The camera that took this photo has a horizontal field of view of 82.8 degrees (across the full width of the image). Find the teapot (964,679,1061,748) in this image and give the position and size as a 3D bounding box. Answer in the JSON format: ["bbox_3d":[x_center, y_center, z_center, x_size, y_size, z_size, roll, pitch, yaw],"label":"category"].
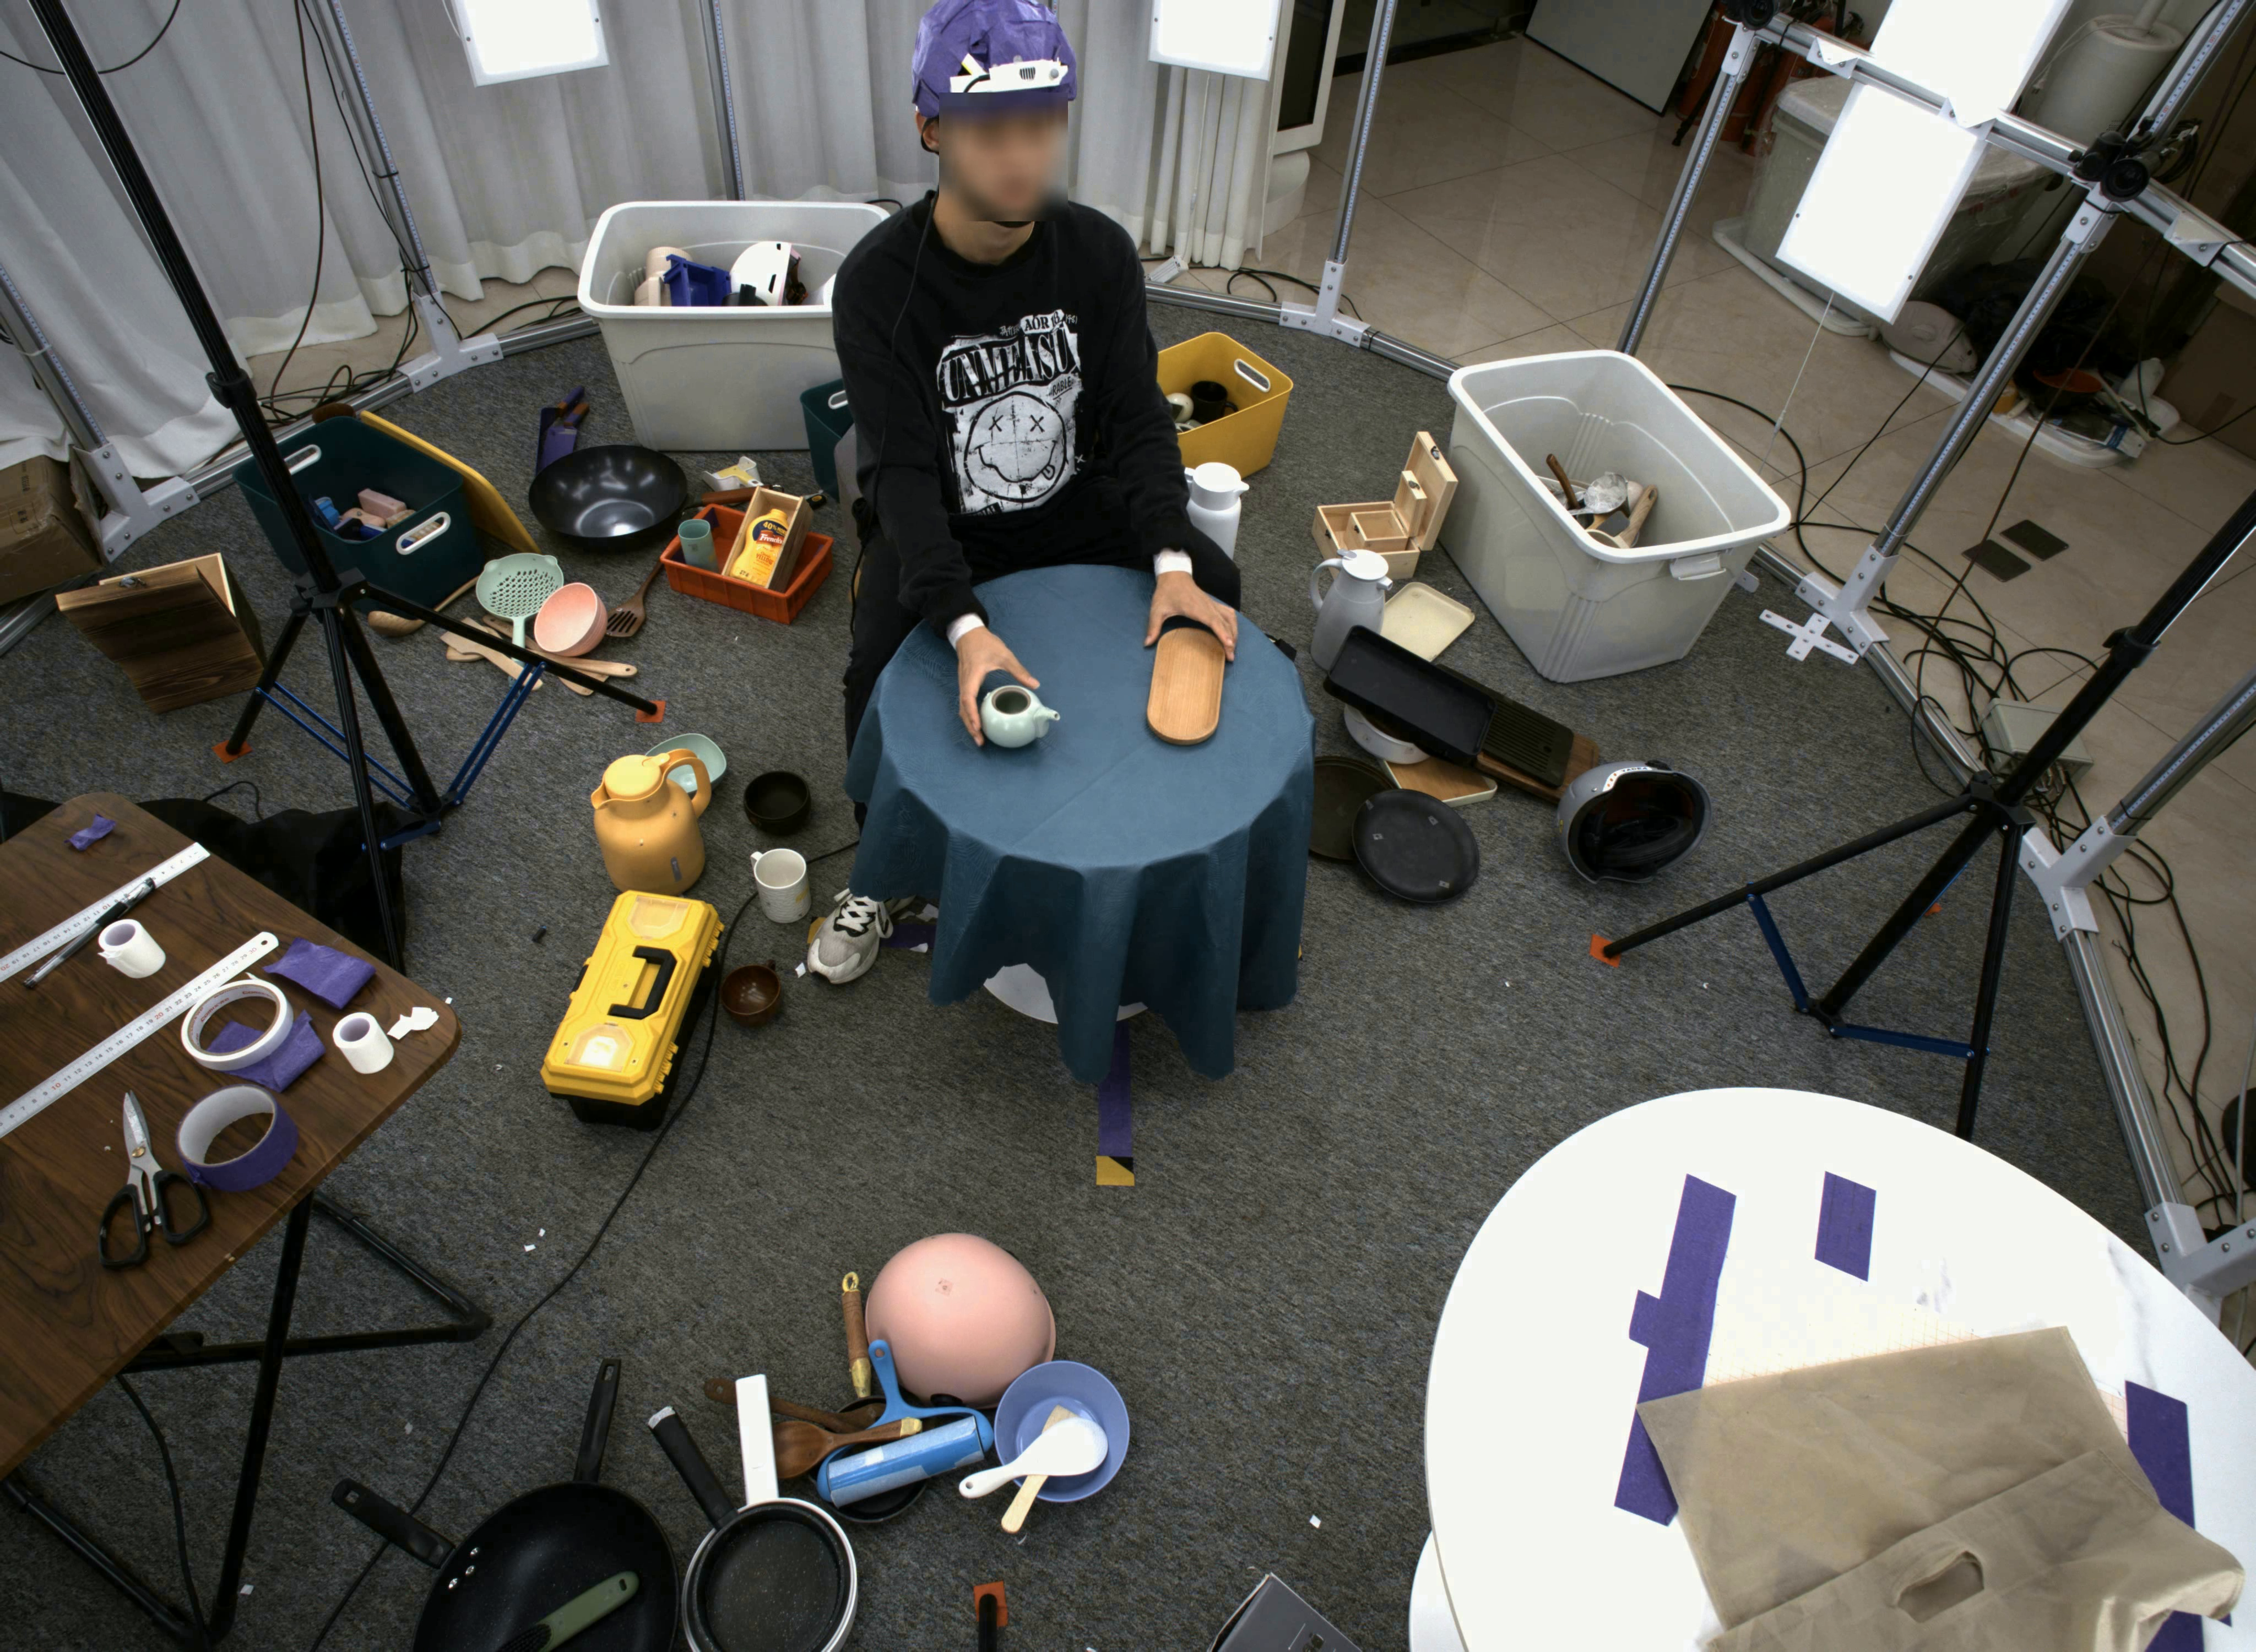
[{"bbox_3d":[-0.157,-0.149,1.743,0.145,0.073,0.090,24,51,15],"label":"teapot"}]

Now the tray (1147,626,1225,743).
[{"bbox_3d":[0.084,-0.206,1.842,0.101,0.020,0.237,8,48,1],"label":"tray"}]
